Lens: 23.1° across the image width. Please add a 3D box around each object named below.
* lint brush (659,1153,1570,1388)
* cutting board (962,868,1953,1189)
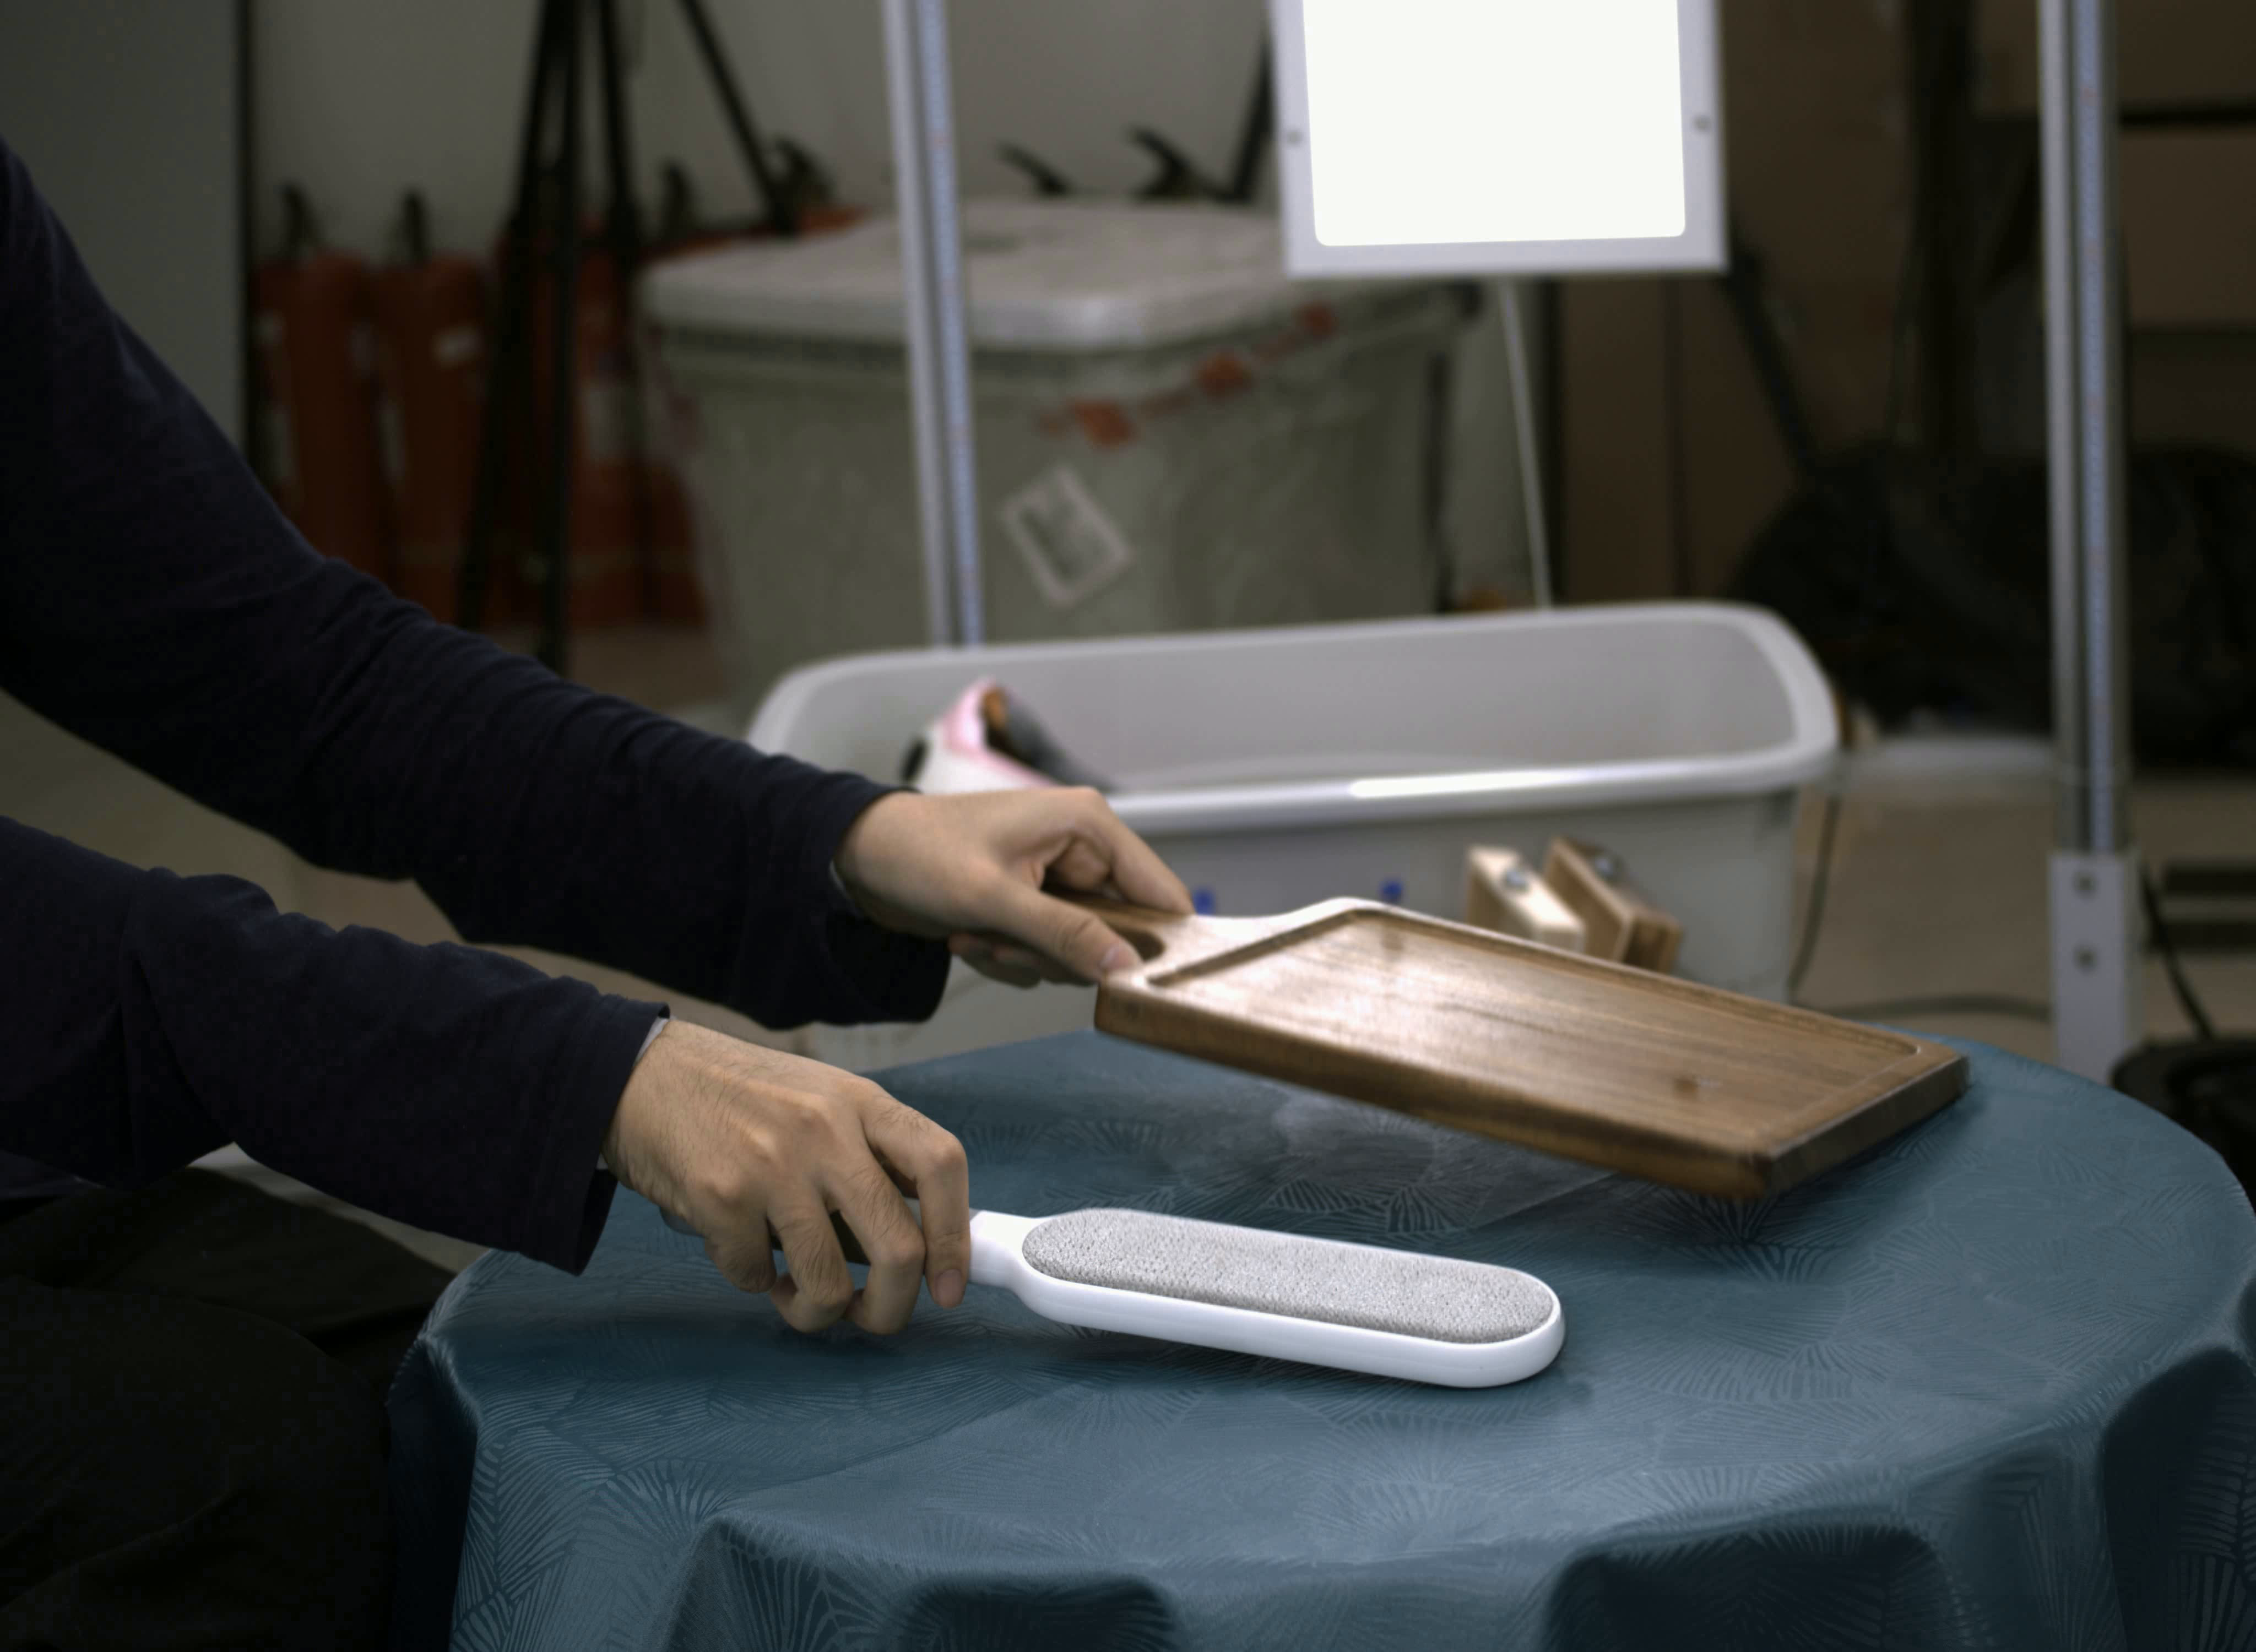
[{"bbox_3d":[-0.009,0.136,1.745,0.313,0.021,0.059,8,34,23],"label":"lint brush"},{"bbox_3d":[0.097,0.061,1.926,0.358,0.023,0.196,13,13,28],"label":"cutting board"}]
